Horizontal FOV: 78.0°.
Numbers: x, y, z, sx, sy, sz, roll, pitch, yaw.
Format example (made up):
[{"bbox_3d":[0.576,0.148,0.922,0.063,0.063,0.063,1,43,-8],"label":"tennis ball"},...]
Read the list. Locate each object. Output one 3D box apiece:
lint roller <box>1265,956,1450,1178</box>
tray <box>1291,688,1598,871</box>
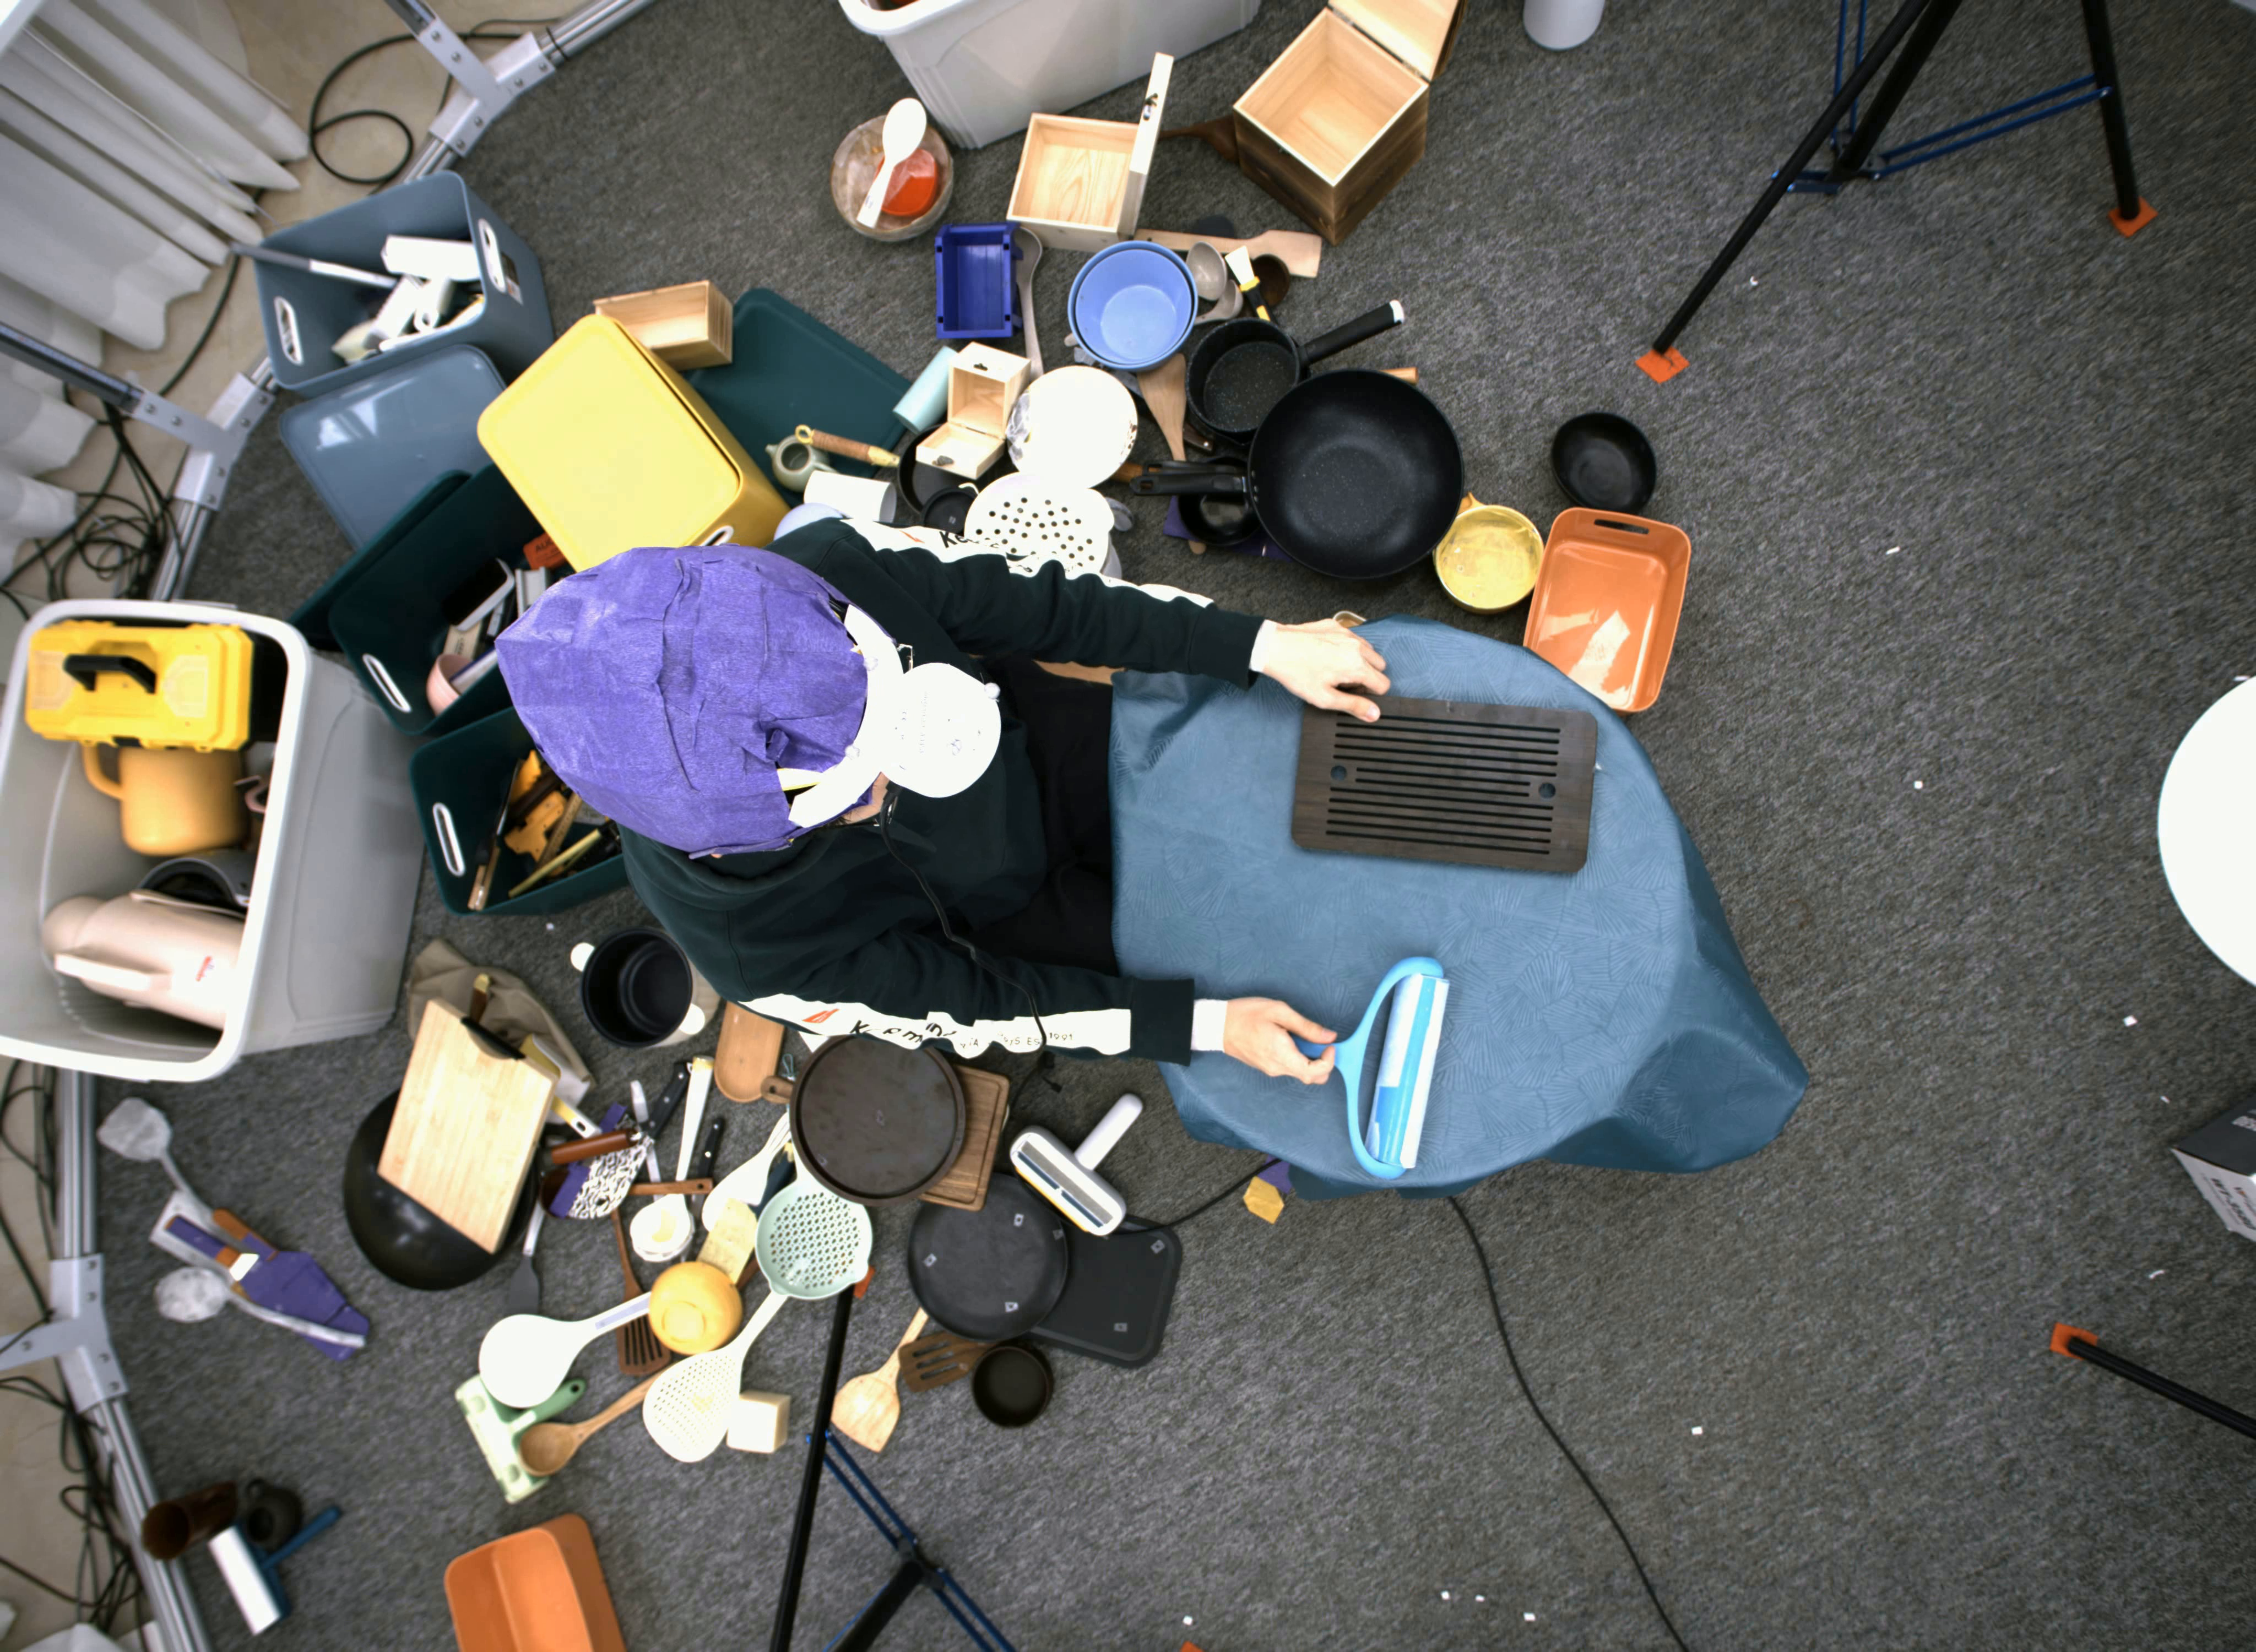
[{"bbox_3d":[0.228,0.236,1.425,0.180,0.068,0.229,8,90,9],"label":"lint roller"},{"bbox_3d":[0.329,-0.052,1.439,0.307,0.018,0.170,5,90,11],"label":"tray"}]
